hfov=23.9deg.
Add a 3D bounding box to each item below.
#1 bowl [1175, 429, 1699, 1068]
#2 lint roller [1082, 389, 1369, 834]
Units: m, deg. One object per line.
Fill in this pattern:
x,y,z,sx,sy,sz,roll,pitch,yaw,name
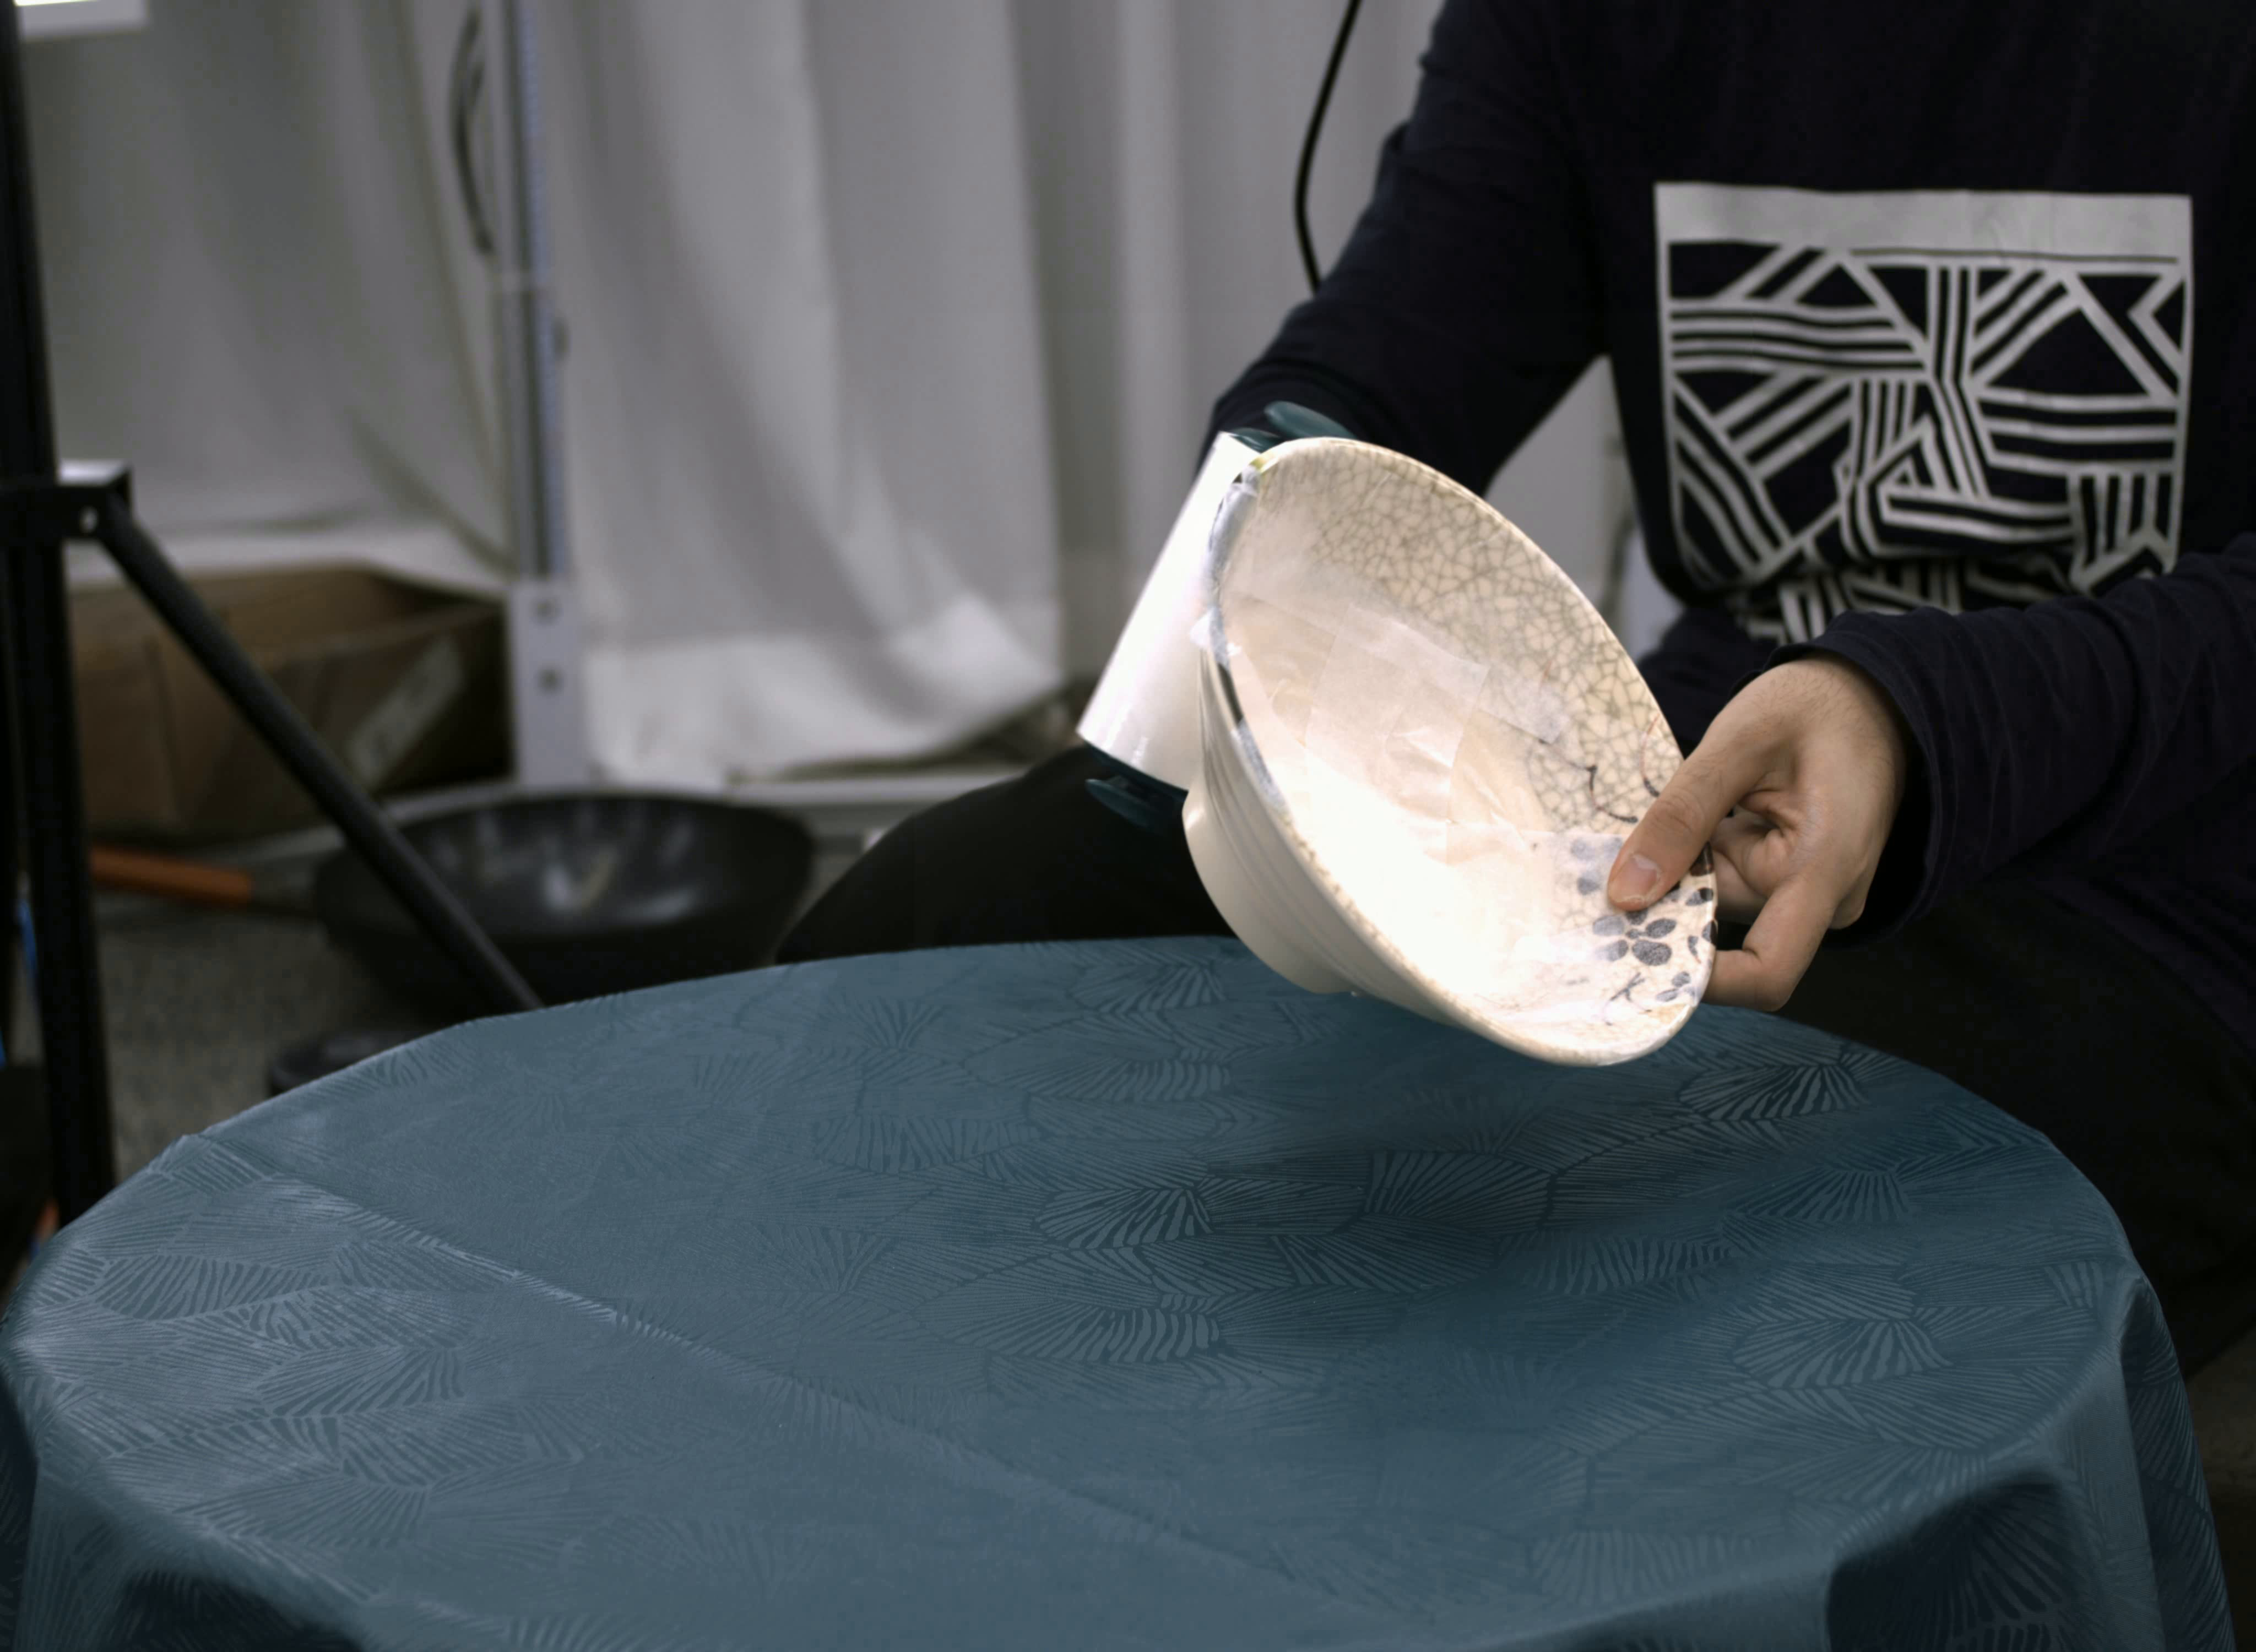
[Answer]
0.070,-0.006,1.523,0.079,0.205,0.200,-35,-4,32,bowl
0.038,-0.065,1.639,0.048,0.135,0.179,27,6,6,lint roller
